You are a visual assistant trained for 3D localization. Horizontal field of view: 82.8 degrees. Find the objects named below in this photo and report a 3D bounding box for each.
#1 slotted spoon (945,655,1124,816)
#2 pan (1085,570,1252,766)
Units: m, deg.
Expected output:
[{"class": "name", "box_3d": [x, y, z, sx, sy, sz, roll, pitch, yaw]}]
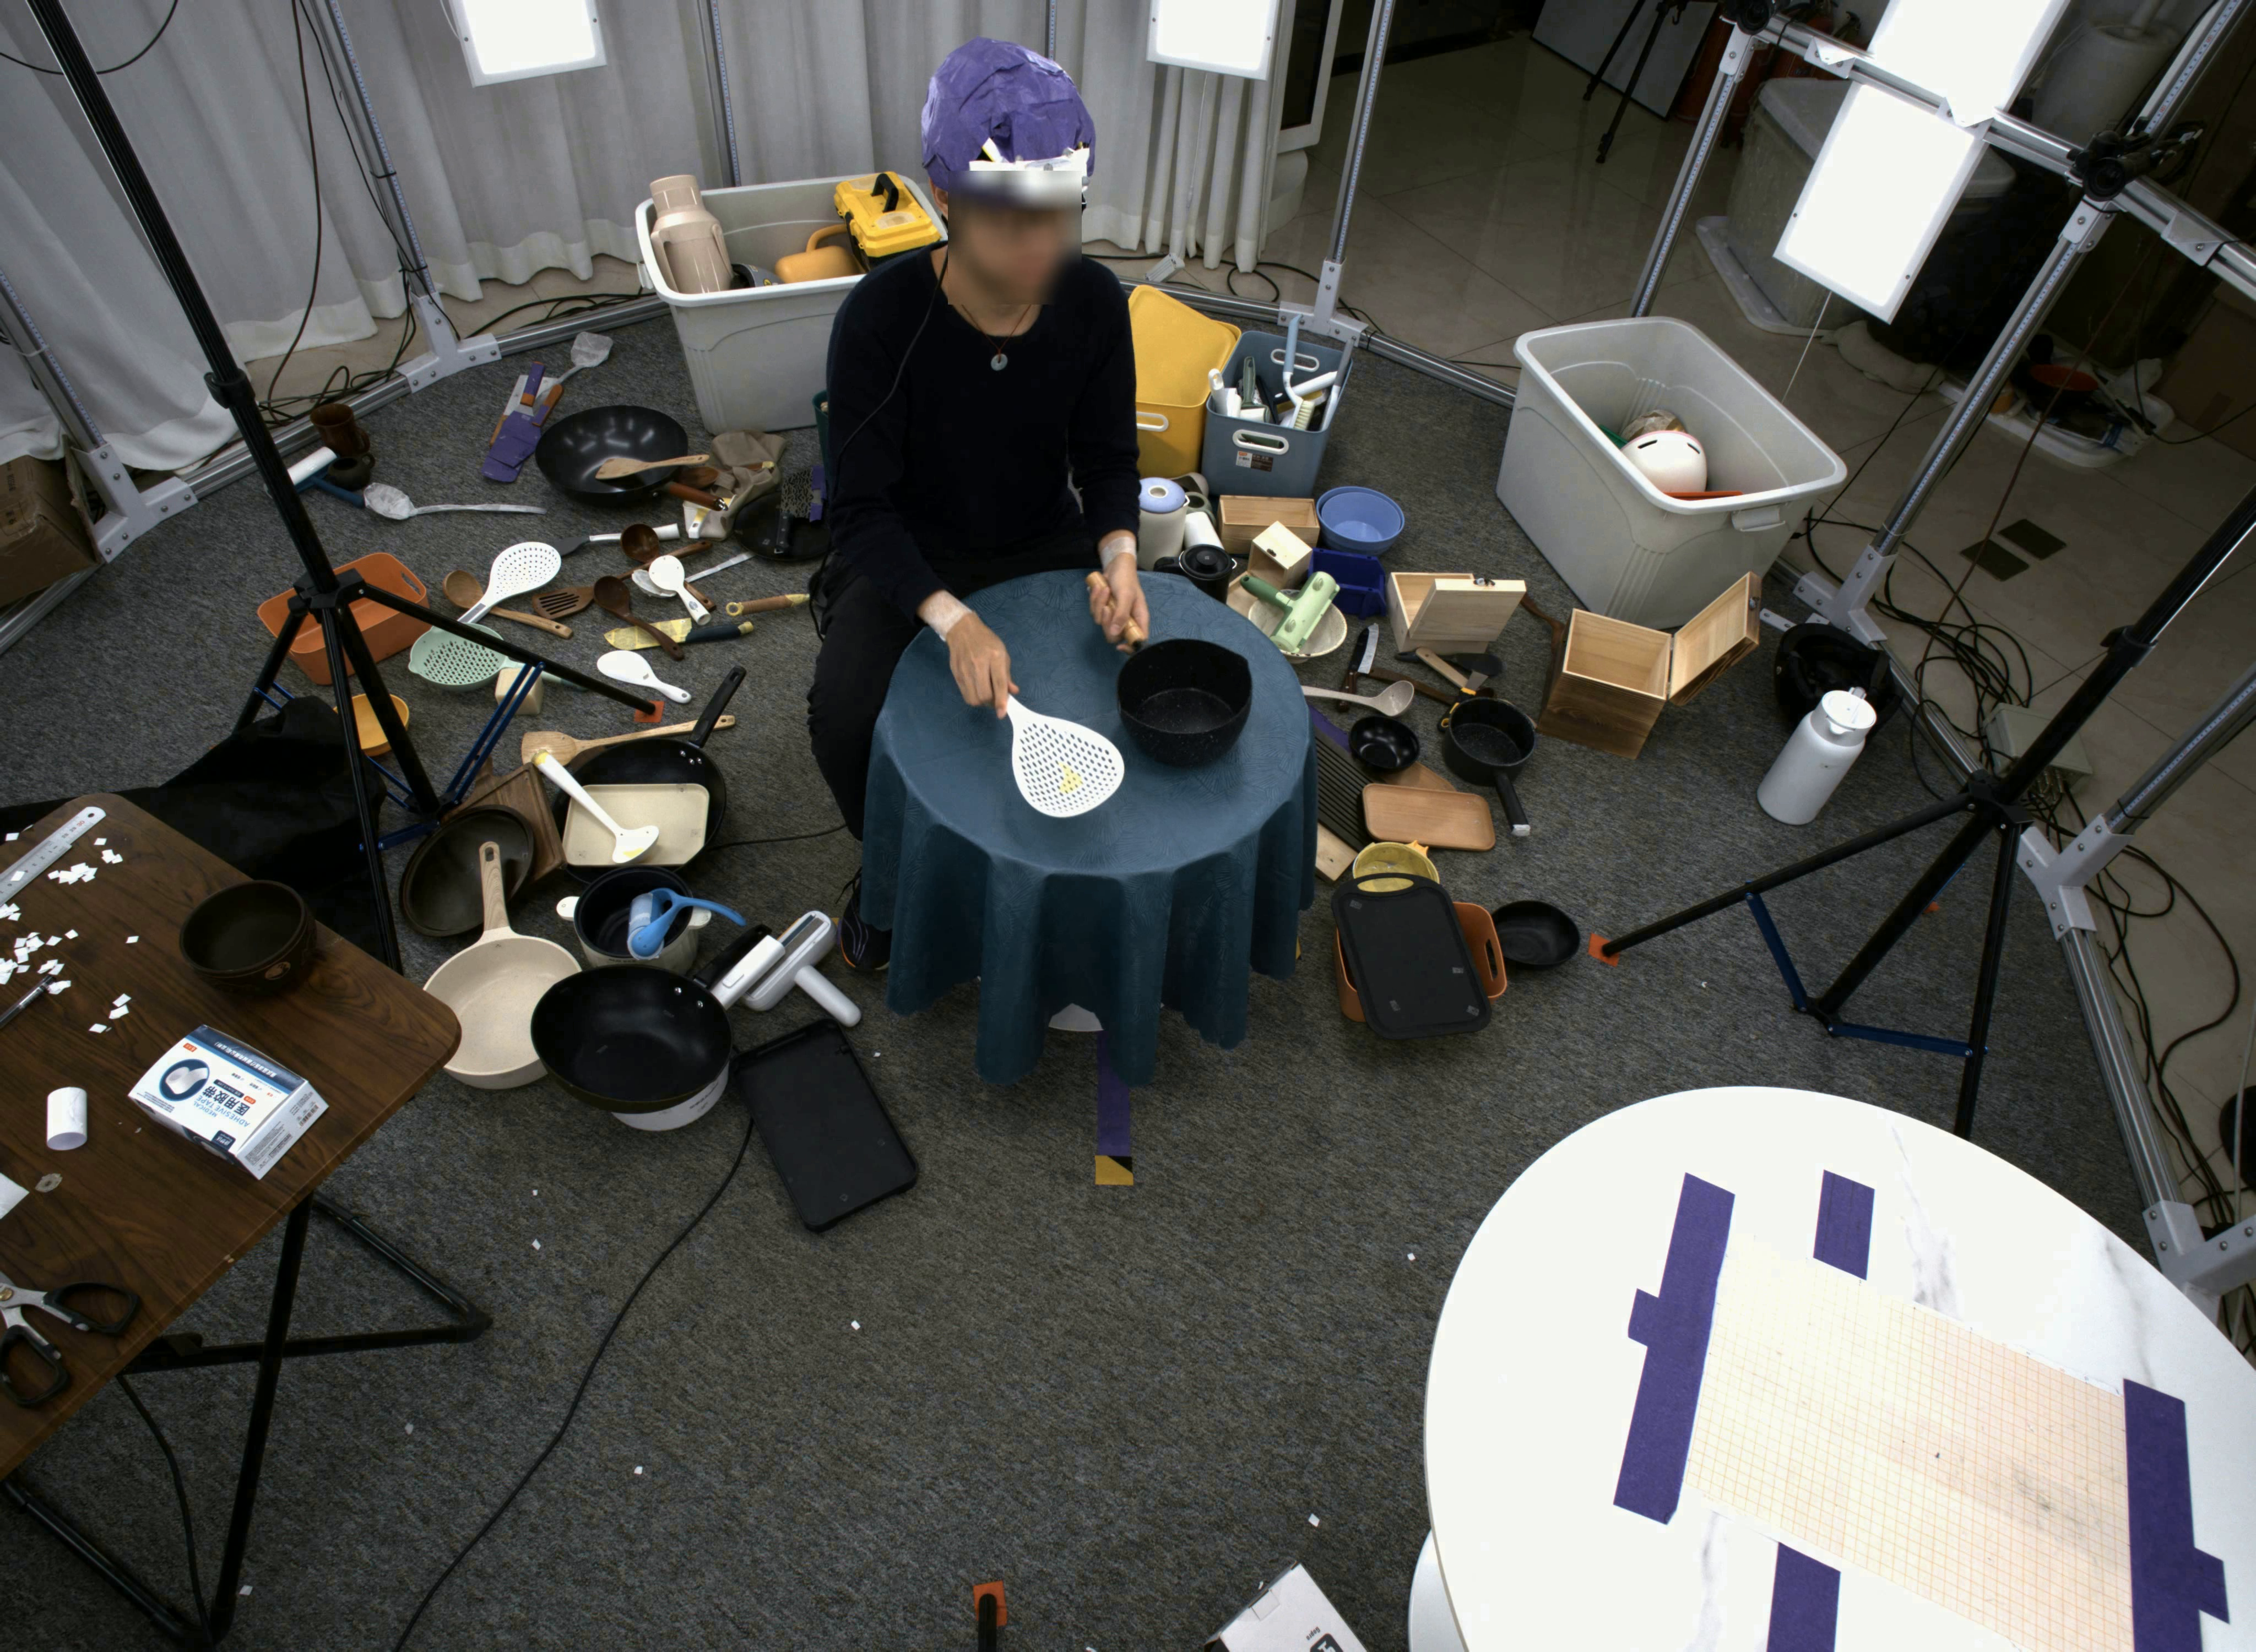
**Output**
[{"class": "slotted spoon", "box_3d": [-0.139, -0.135, 1.689, 0.137, 0.049, 0.354, -35, 61, -14]}, {"class": "pan", "box_3d": [0.033, -0.223, 1.793, 0.208, 0.105, 0.350, -27, 54, -18]}]
